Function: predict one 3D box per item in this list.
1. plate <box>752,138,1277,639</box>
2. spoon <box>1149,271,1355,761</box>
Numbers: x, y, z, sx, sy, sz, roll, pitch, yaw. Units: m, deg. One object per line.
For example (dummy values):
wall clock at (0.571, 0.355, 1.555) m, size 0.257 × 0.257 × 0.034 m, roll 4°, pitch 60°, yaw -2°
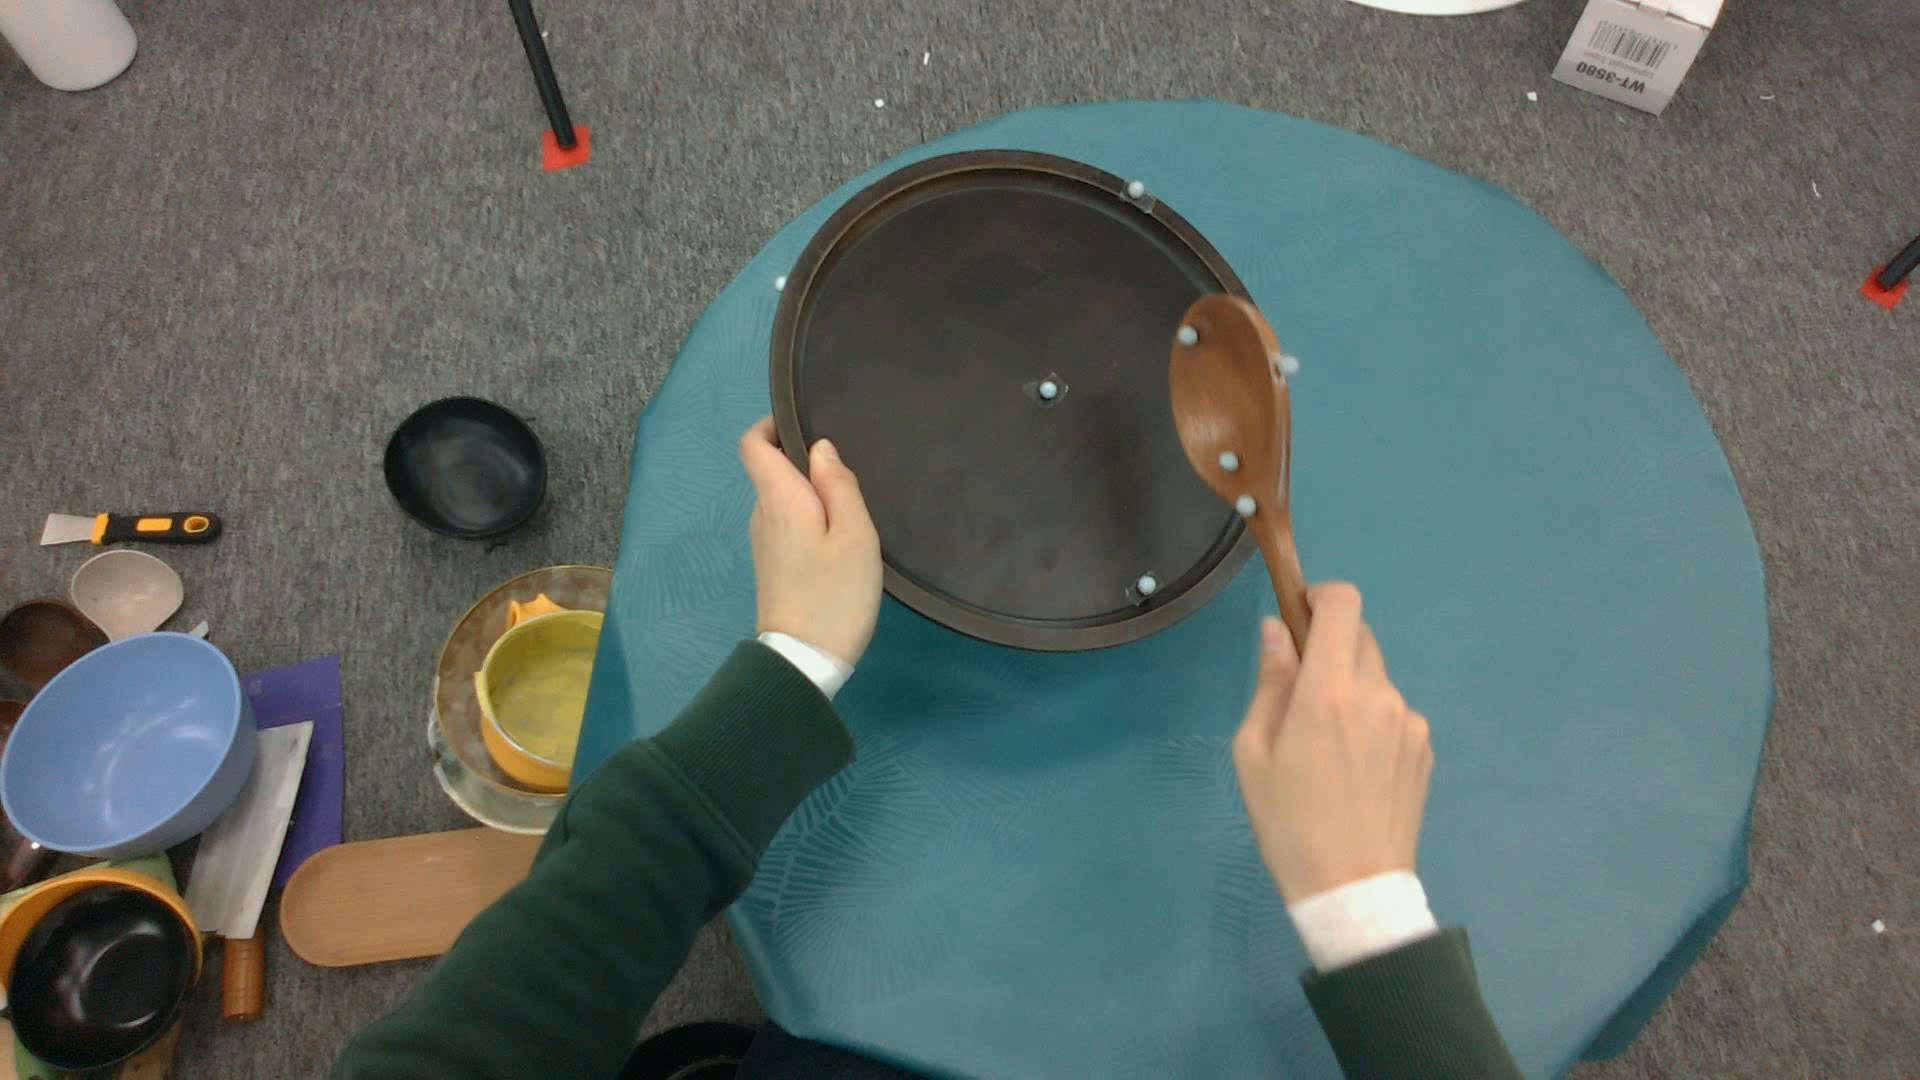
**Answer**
plate at (0.029, -0.075, 0.649) m, size 0.255 × 0.029 × 0.255 m, roll 5°, pitch 69°, yaw -13°
spoon at (0.124, -0.013, 0.574) m, size 0.017 × 0.075 × 0.216 m, roll -3°, pitch 69°, yaw -29°
